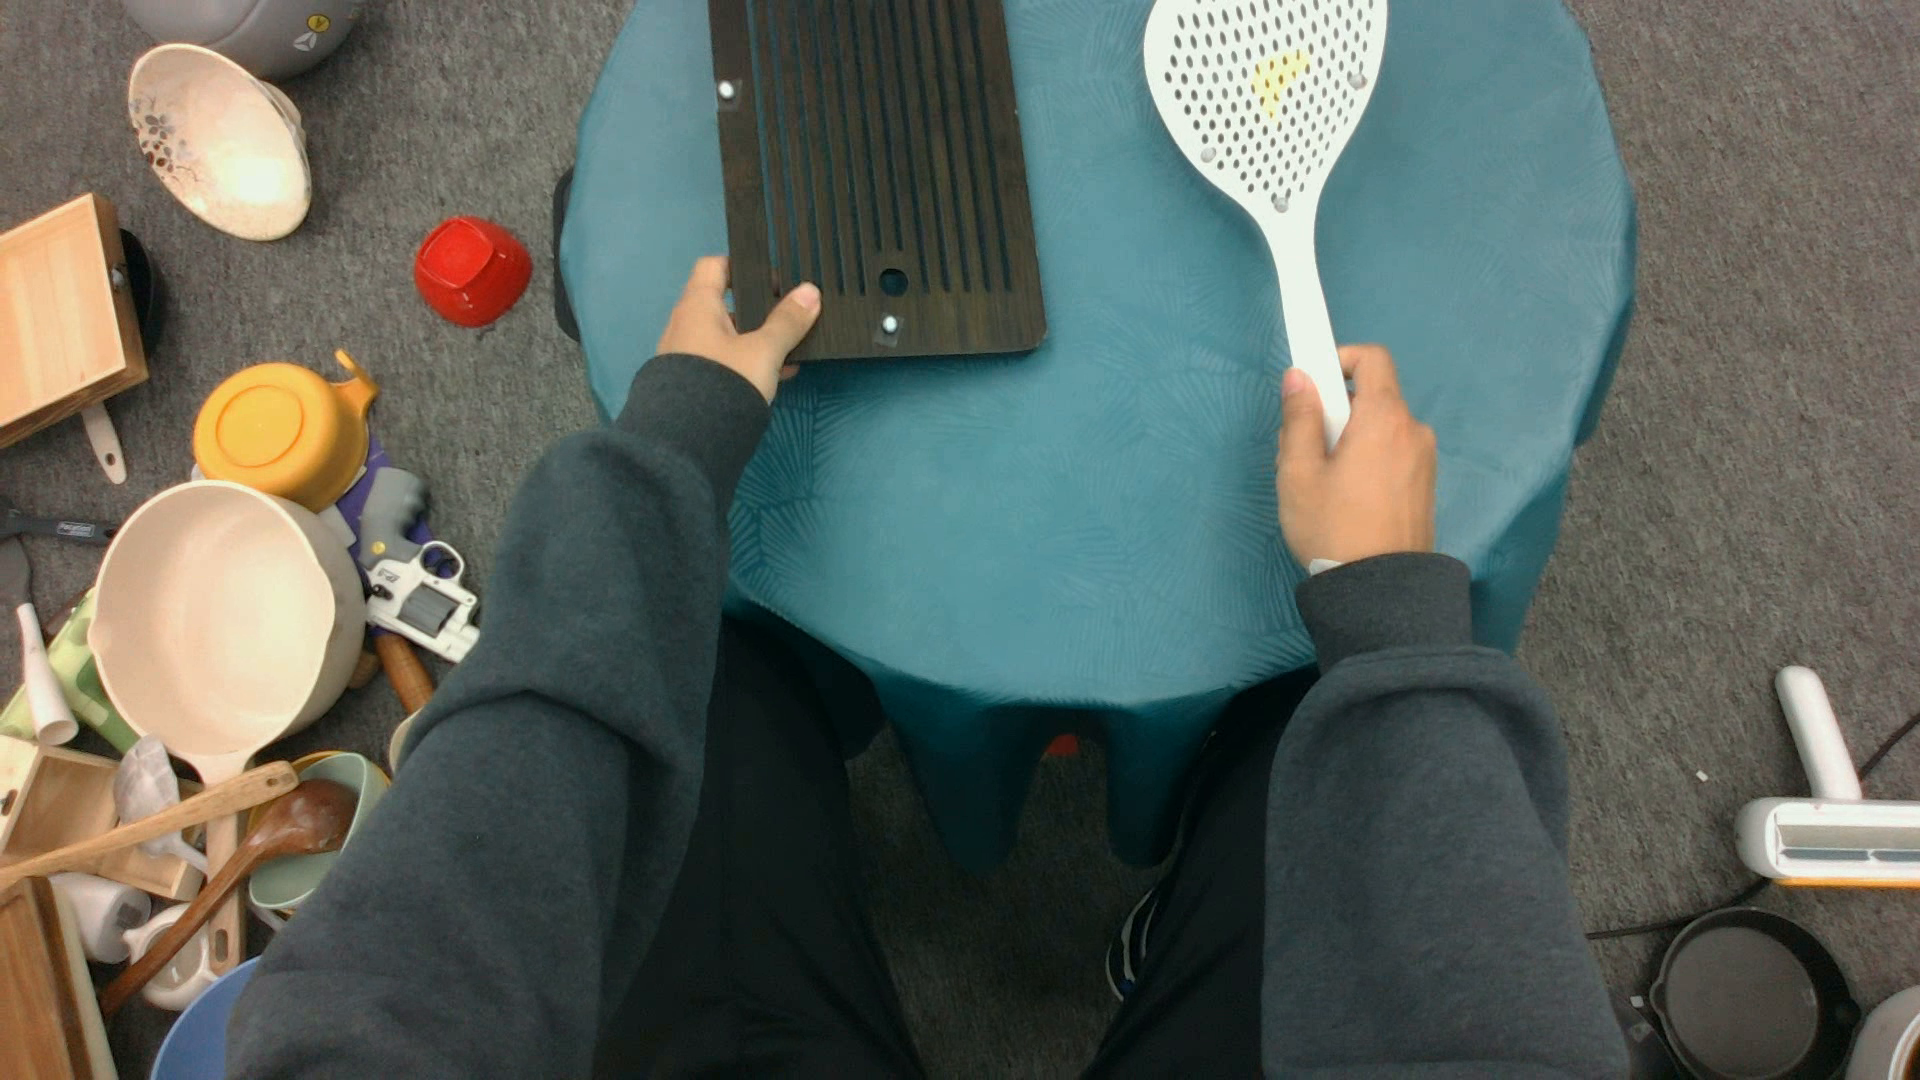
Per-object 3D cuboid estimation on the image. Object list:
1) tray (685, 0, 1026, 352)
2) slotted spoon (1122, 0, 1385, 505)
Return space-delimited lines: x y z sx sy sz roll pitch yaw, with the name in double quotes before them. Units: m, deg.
"tray" -0.064 -0.248 0.775 0.170 0.018 0.306 -4 75 -14
"slotted spoon" 0.172 -0.184 0.732 0.136 0.050 0.349 -17 67 28
